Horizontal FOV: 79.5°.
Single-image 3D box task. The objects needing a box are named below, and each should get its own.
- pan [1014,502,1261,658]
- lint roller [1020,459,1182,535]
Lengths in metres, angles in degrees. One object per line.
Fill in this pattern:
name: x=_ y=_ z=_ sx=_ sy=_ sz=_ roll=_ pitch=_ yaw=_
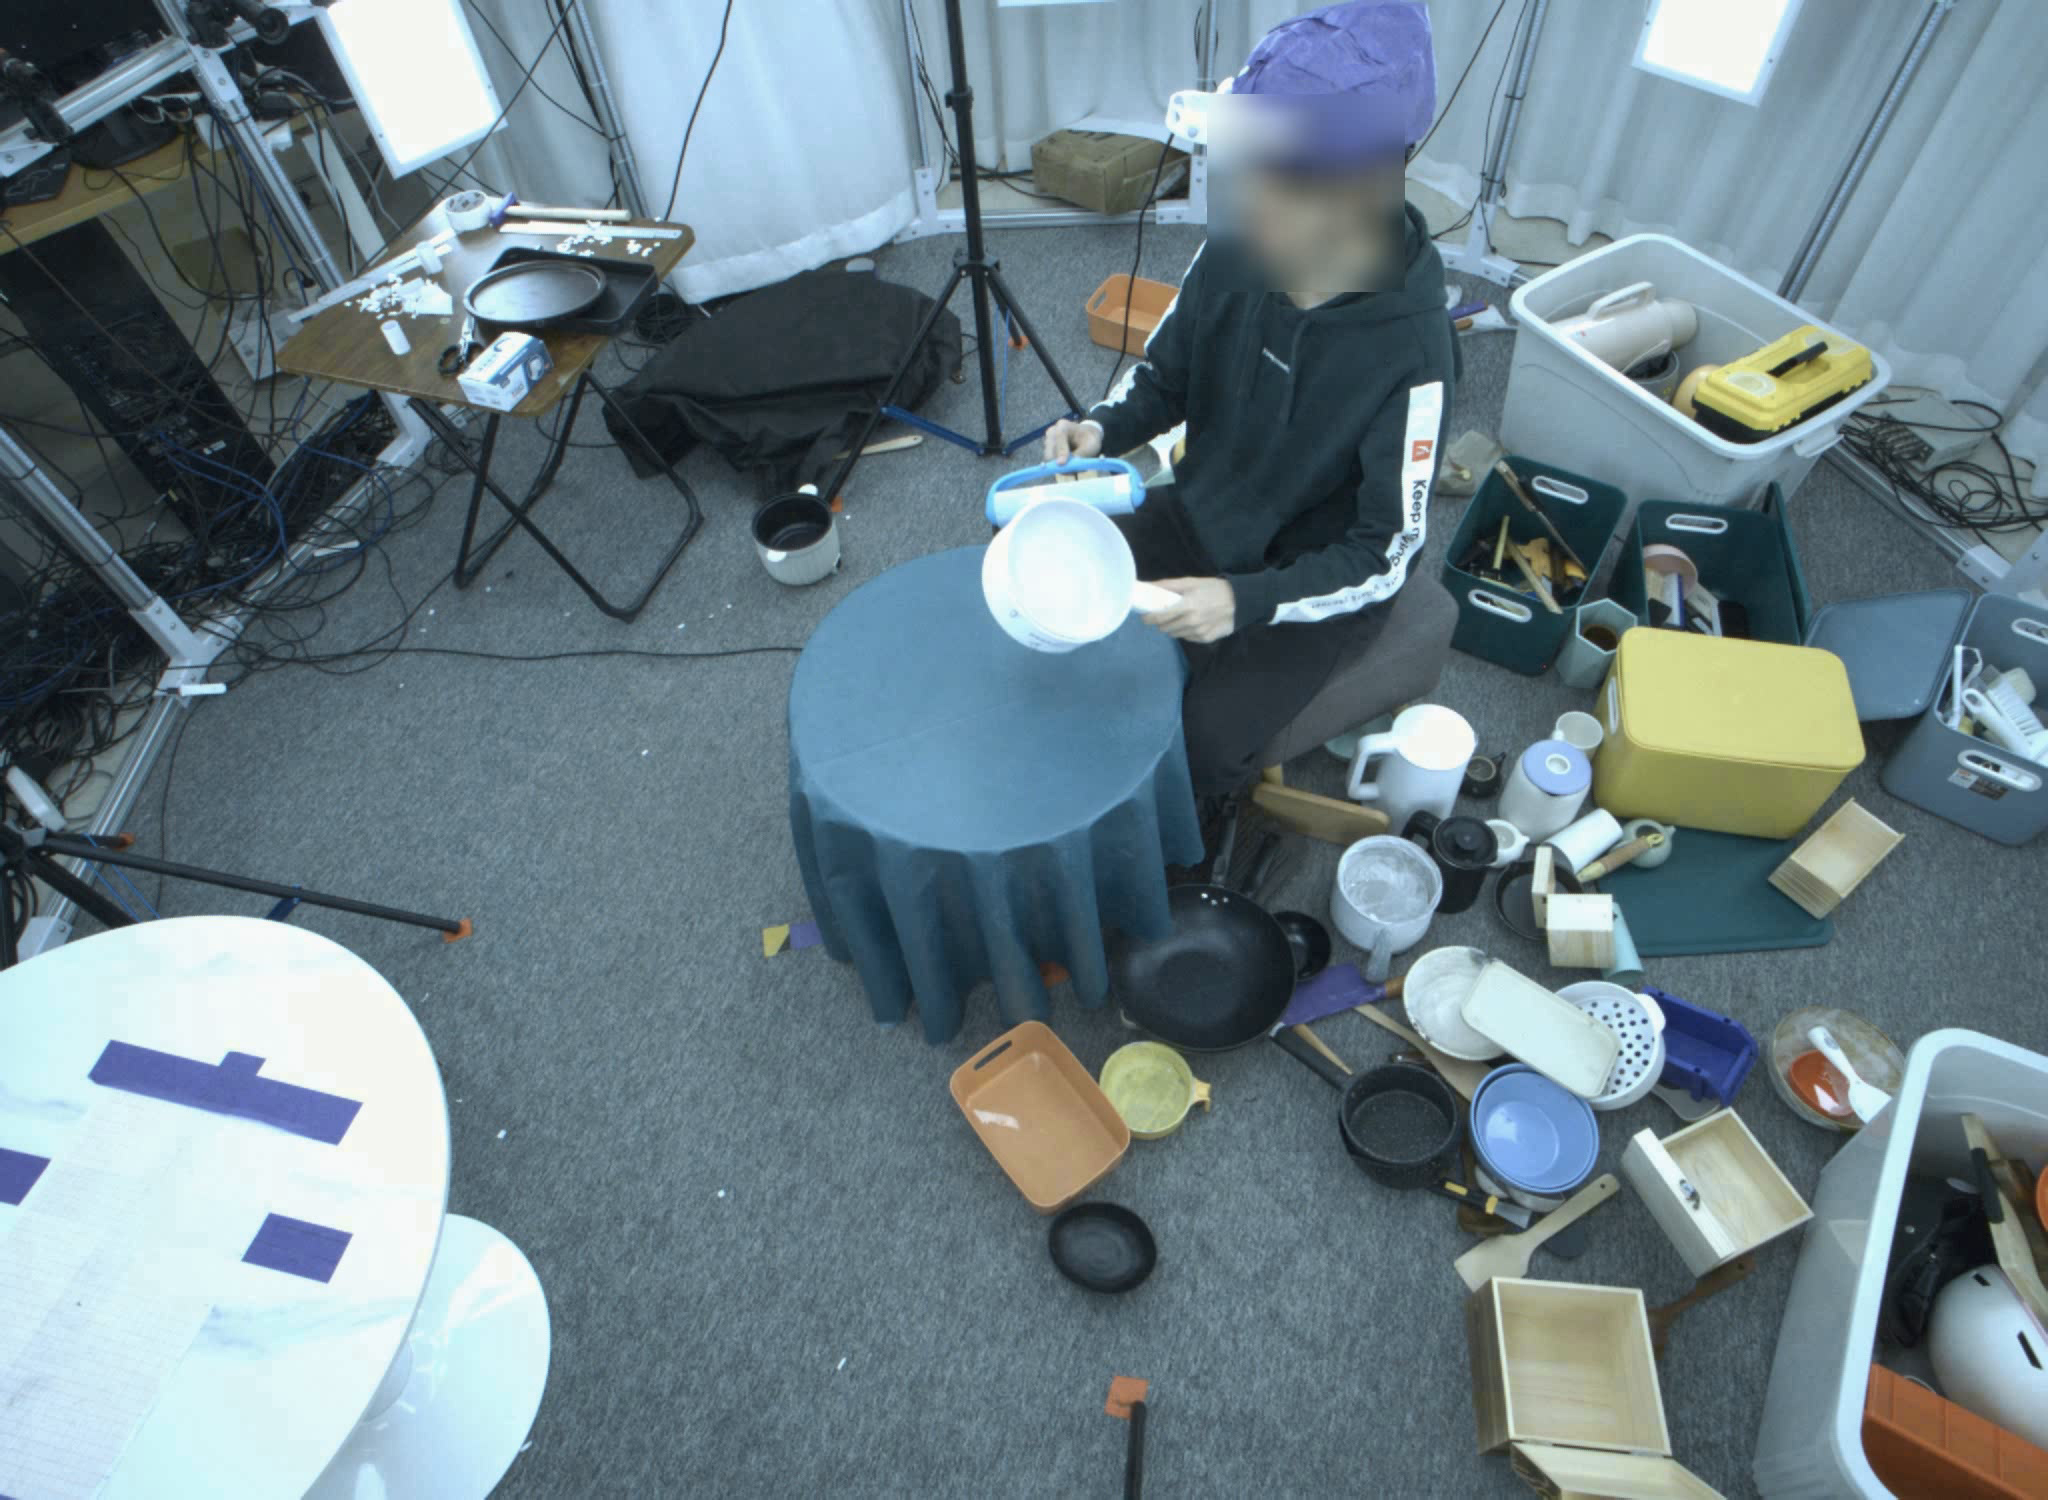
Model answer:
pan: x=0.154 y=-0.202 z=1.684 sx=0.361 sy=0.100 sz=0.200 roll=17 pitch=73 yaw=-25
lint roller: x=0.109 y=-0.381 z=1.752 sx=0.227 sy=0.069 sz=0.178 roll=-7 pitch=43 yaw=11
